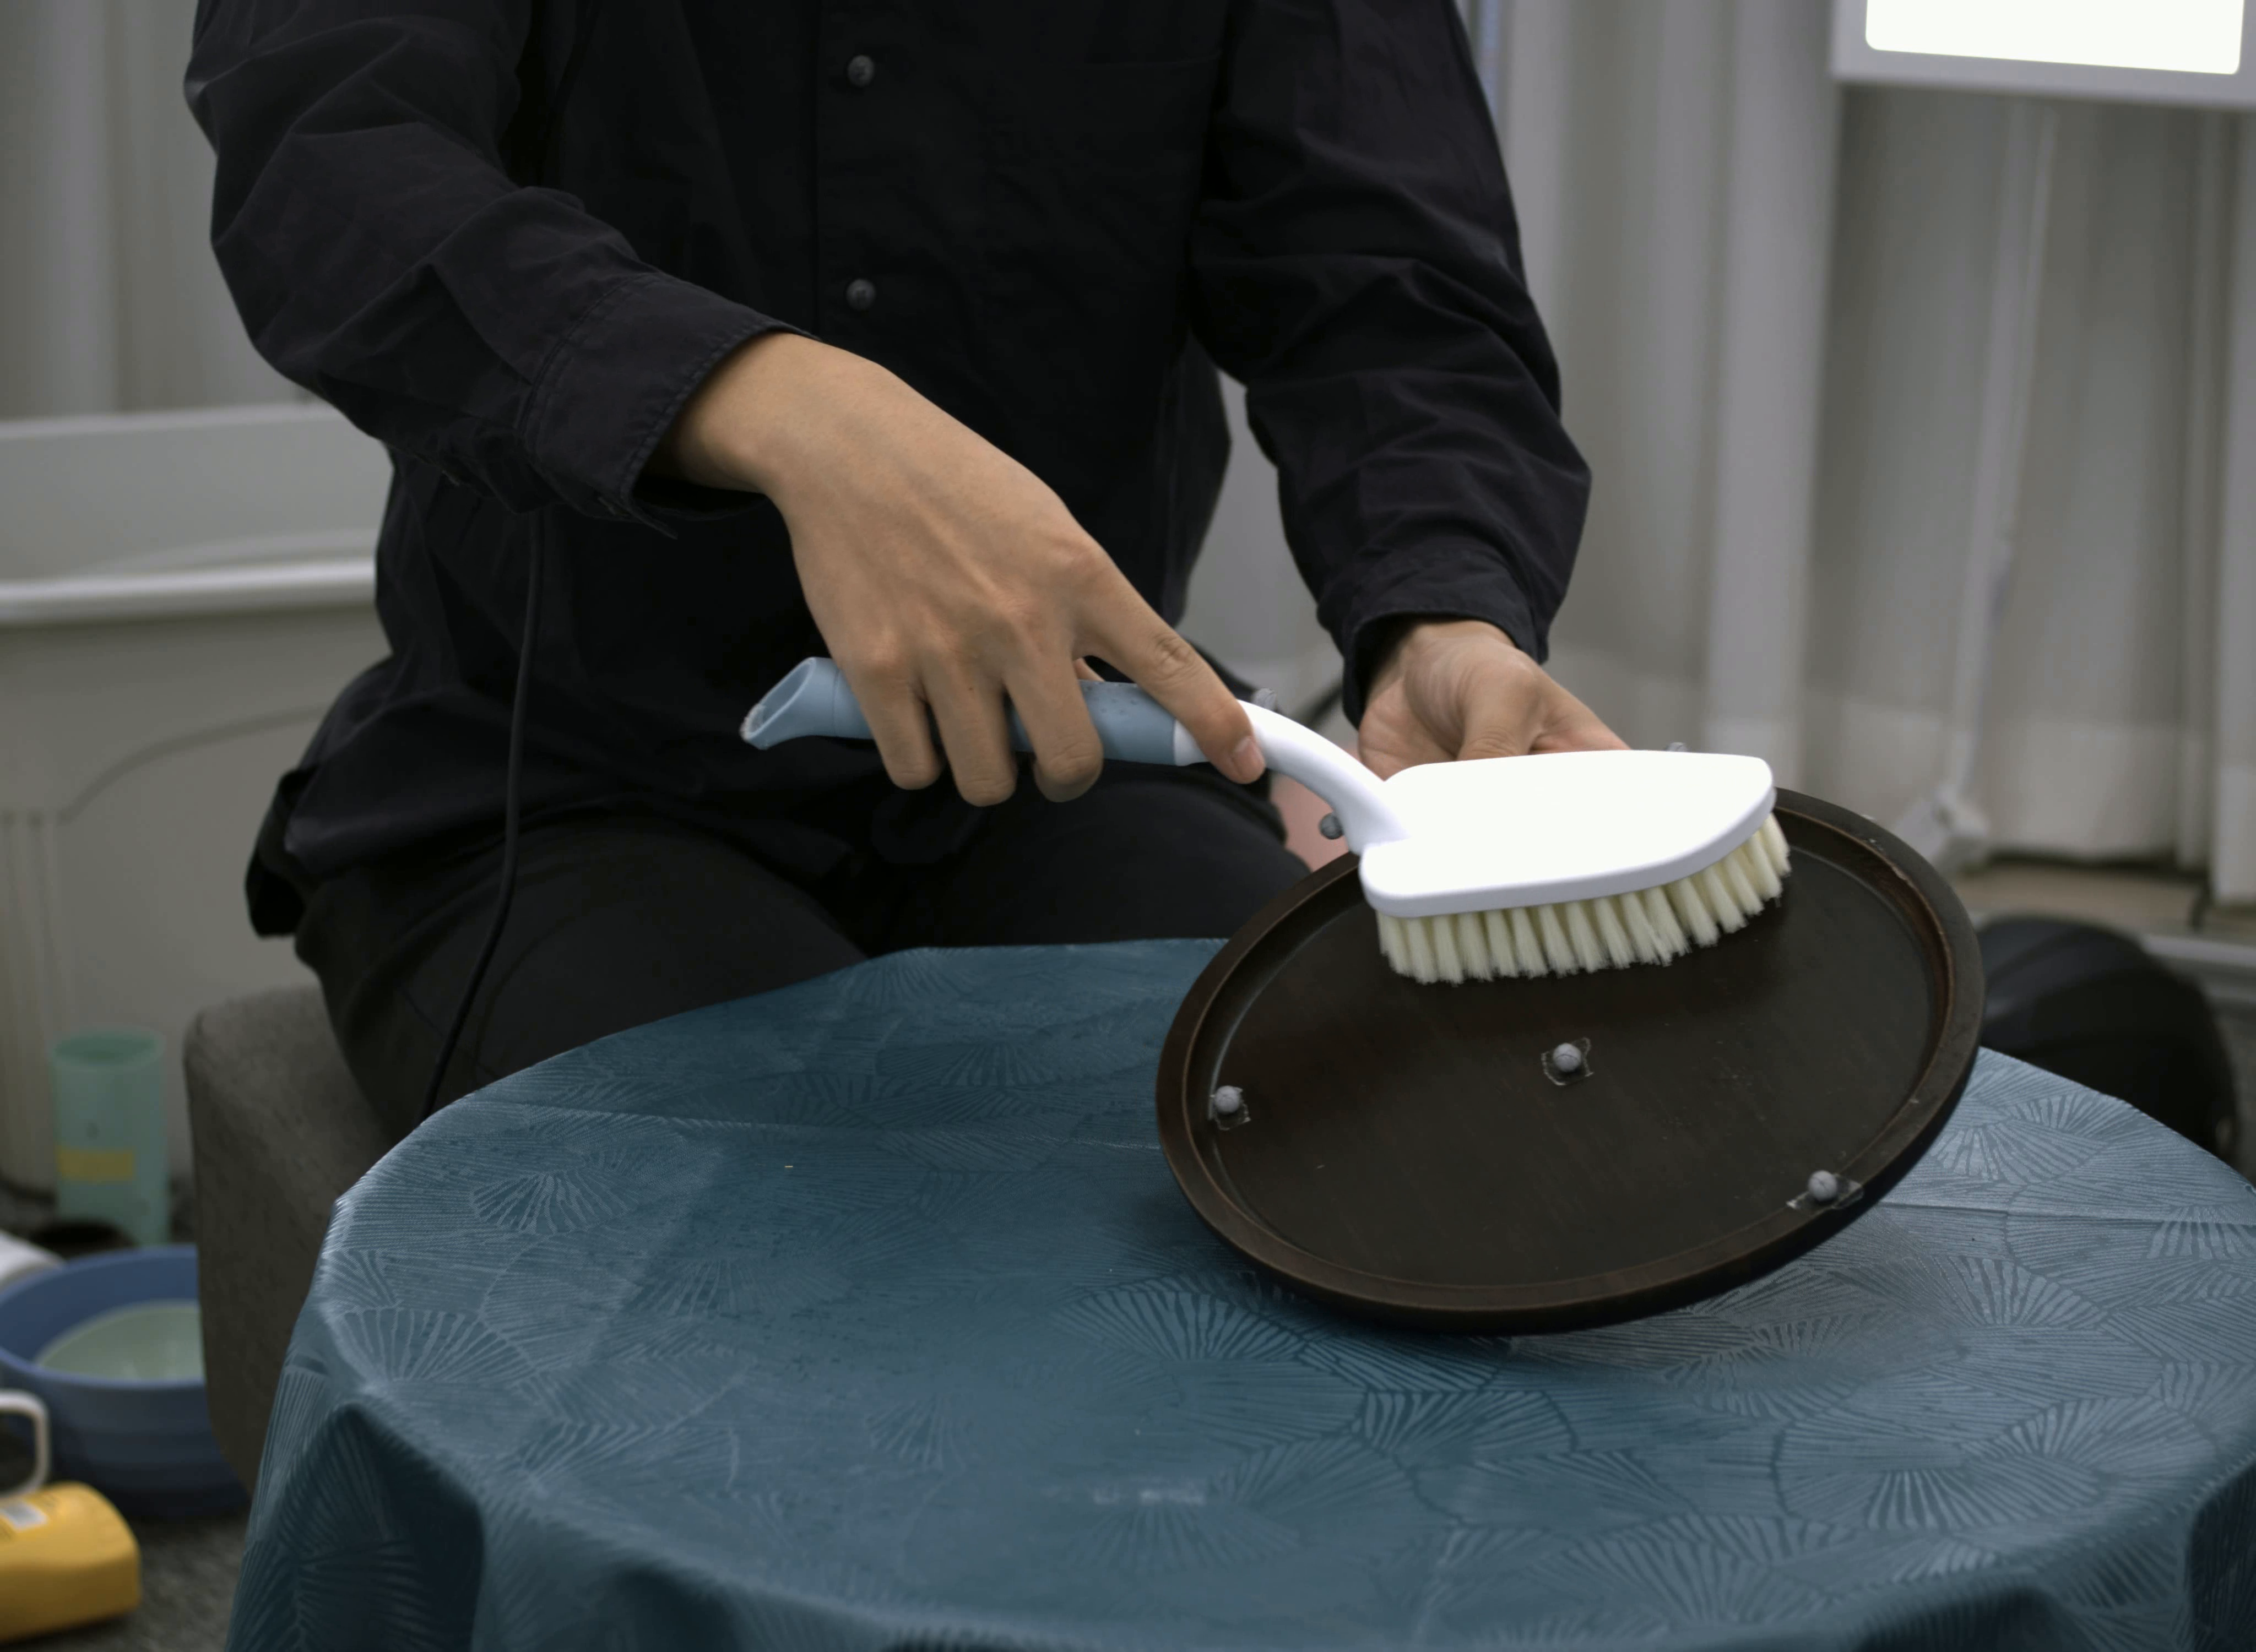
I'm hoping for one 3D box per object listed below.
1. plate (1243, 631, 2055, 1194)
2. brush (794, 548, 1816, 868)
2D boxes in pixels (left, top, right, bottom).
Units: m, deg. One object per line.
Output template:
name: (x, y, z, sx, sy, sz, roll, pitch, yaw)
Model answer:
plate: (0.160, 0.027, 1.622, 0.253, 0.029, 0.252, -11, 36, 9)
brush: (0.055, -0.033, 1.672, 0.324, 0.085, 0.083, 5, 1, 5)
